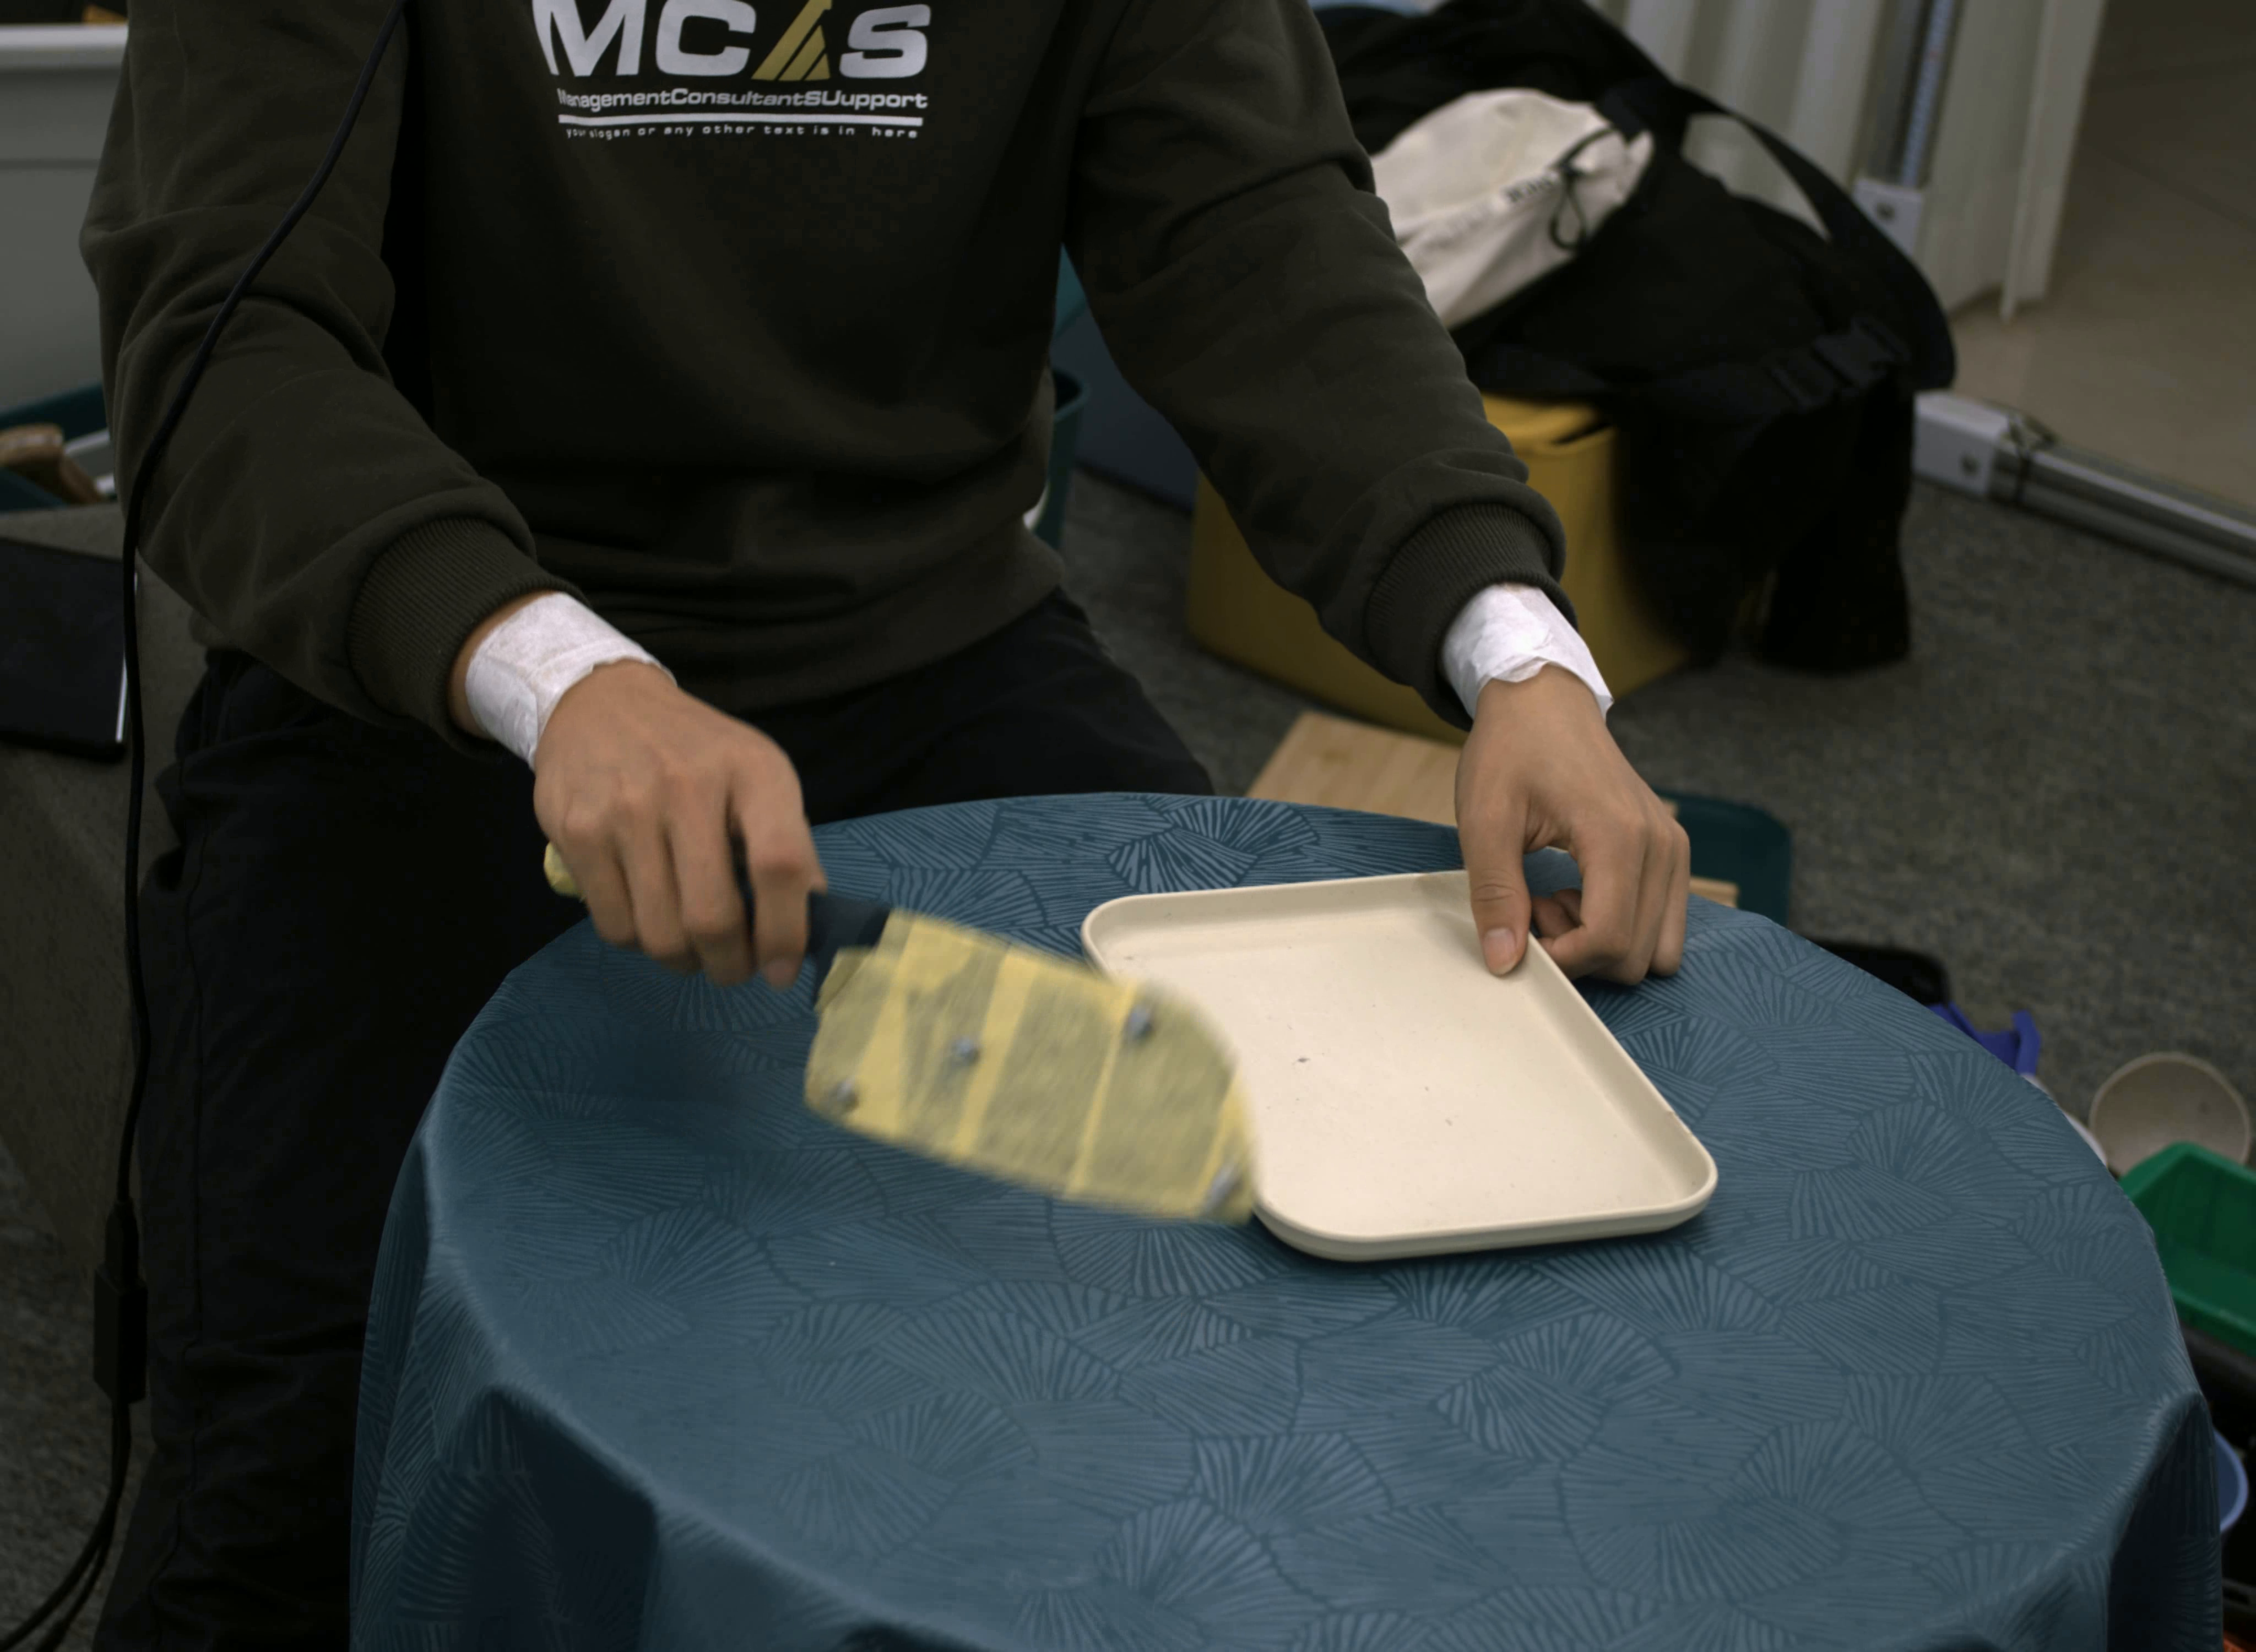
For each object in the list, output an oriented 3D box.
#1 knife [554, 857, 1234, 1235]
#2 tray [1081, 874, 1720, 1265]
[{"bbox_3d":[-0.082,0.070,1.760,0.291,0.081,0.027,21,-3,32],"label":"knife"},{"bbox_3d":[0.092,0.084,1.883,0.170,0.017,0.242,-5,29,-19],"label":"tray"}]
